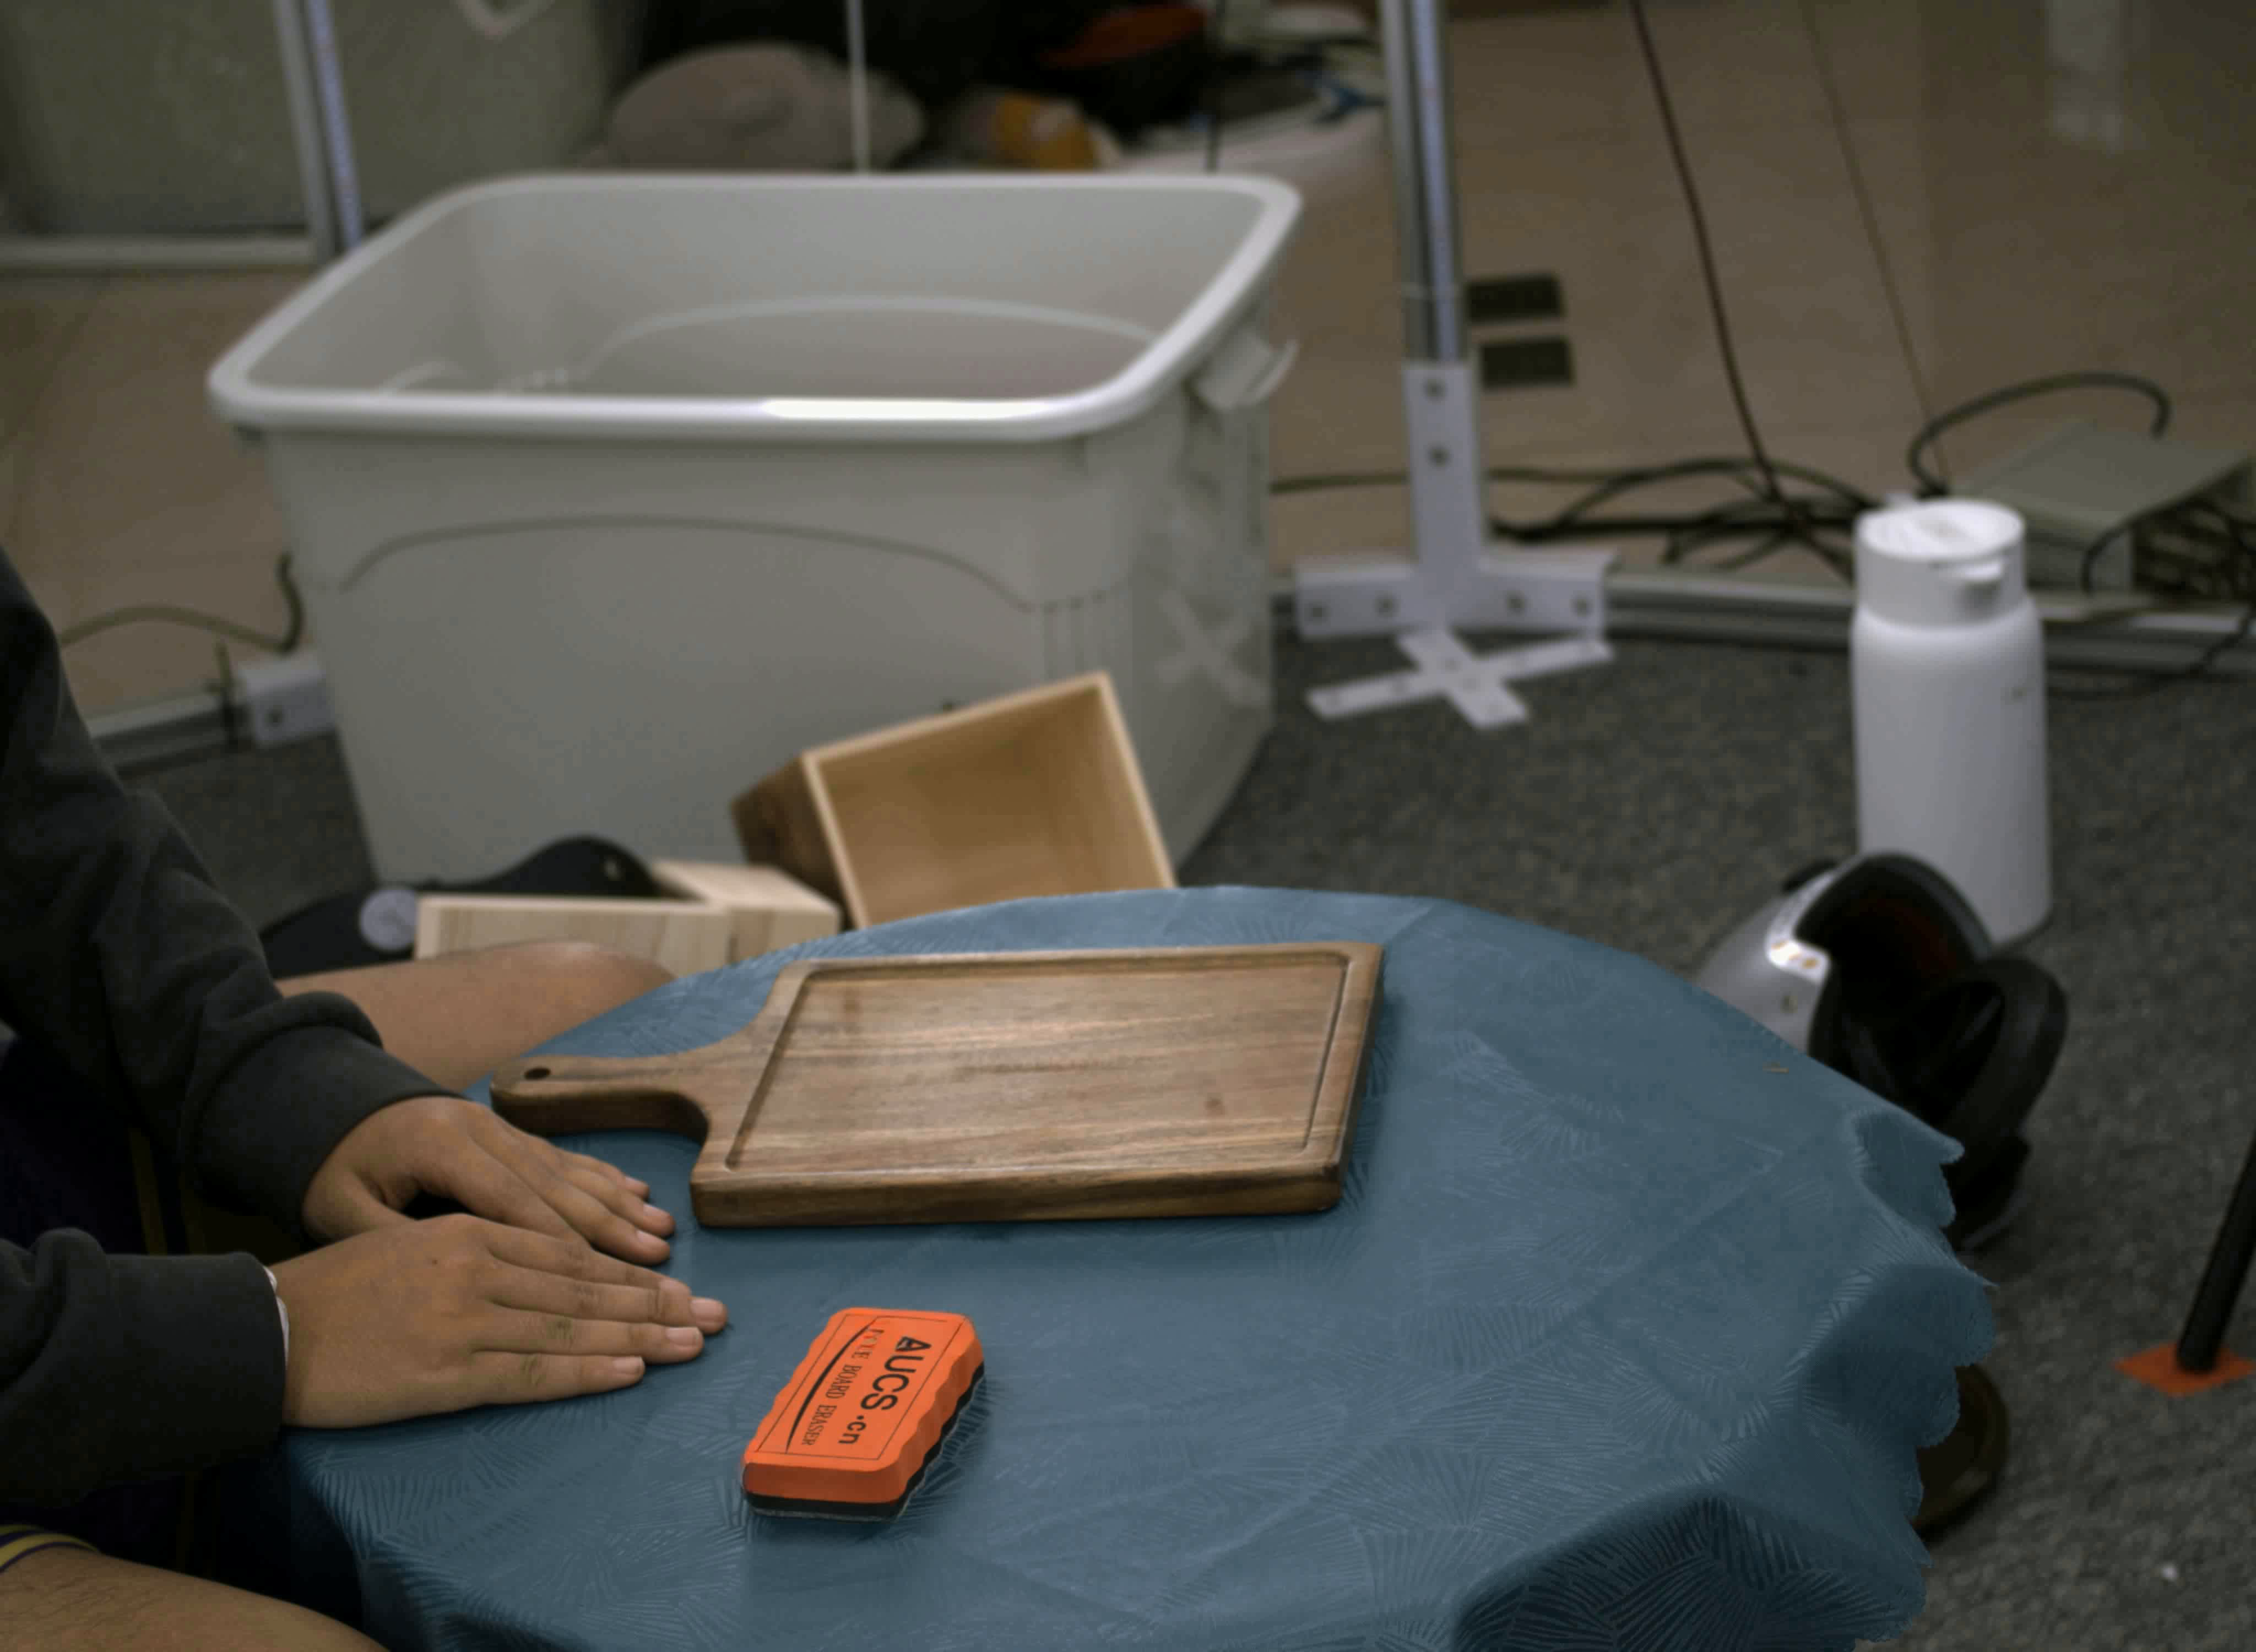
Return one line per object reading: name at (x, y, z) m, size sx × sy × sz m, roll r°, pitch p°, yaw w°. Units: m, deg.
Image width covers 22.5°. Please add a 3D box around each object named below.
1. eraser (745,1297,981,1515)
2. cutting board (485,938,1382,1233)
eraser at (-0.092, 0.203, 1.996) m, size 0.059 × 0.023 × 0.106 m, roll 3°, pitch 27°, yaw 17°
cutting board at (-0.080, 0.101, 2.223) m, size 0.351 × 0.023 × 0.198 m, roll -3°, pitch 25°, yaw 9°
